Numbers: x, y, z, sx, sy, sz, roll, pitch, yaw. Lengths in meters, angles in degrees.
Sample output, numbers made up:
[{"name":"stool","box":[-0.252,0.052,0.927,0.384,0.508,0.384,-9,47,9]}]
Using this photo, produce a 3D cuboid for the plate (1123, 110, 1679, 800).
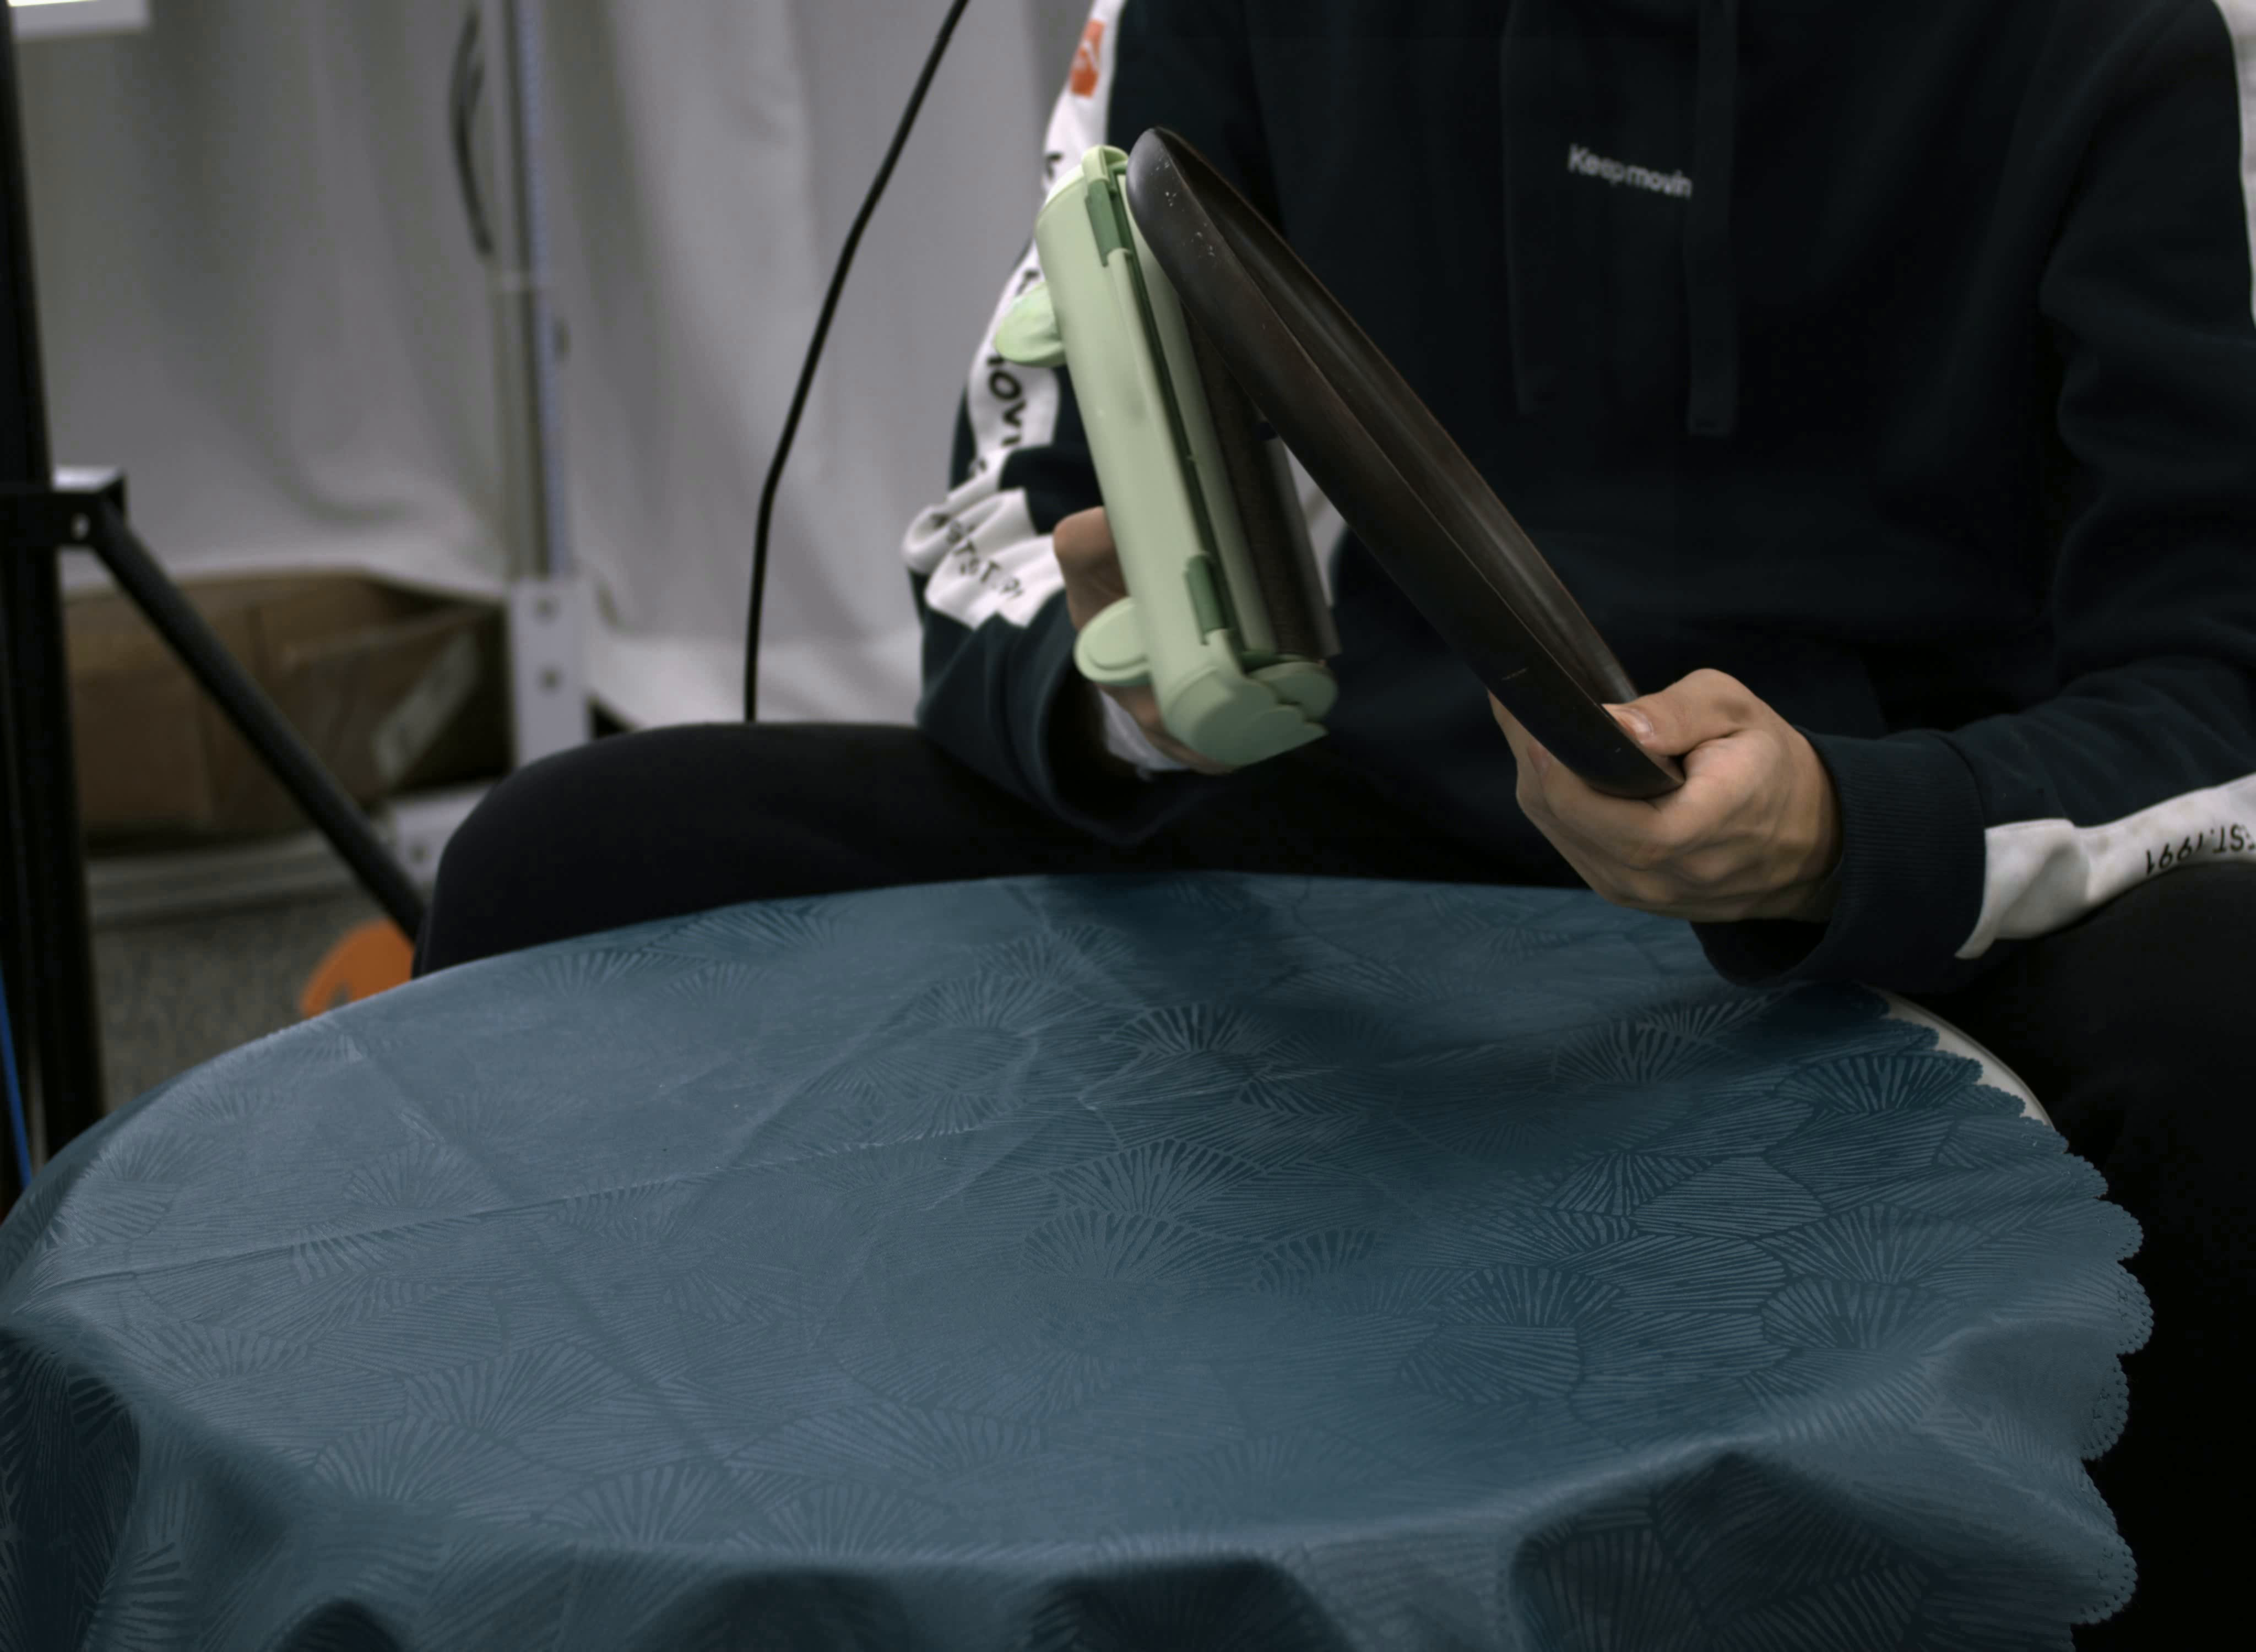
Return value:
[{"name":"plate","box":[0.080,-0.107,1.581,0.029,0.253,0.256,-40,12,9]}]

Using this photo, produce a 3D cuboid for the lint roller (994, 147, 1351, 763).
[{"name":"lint roller","box":[0.010,-0.088,1.694,0.081,0.201,0.182,-12,-26,-9]}]
